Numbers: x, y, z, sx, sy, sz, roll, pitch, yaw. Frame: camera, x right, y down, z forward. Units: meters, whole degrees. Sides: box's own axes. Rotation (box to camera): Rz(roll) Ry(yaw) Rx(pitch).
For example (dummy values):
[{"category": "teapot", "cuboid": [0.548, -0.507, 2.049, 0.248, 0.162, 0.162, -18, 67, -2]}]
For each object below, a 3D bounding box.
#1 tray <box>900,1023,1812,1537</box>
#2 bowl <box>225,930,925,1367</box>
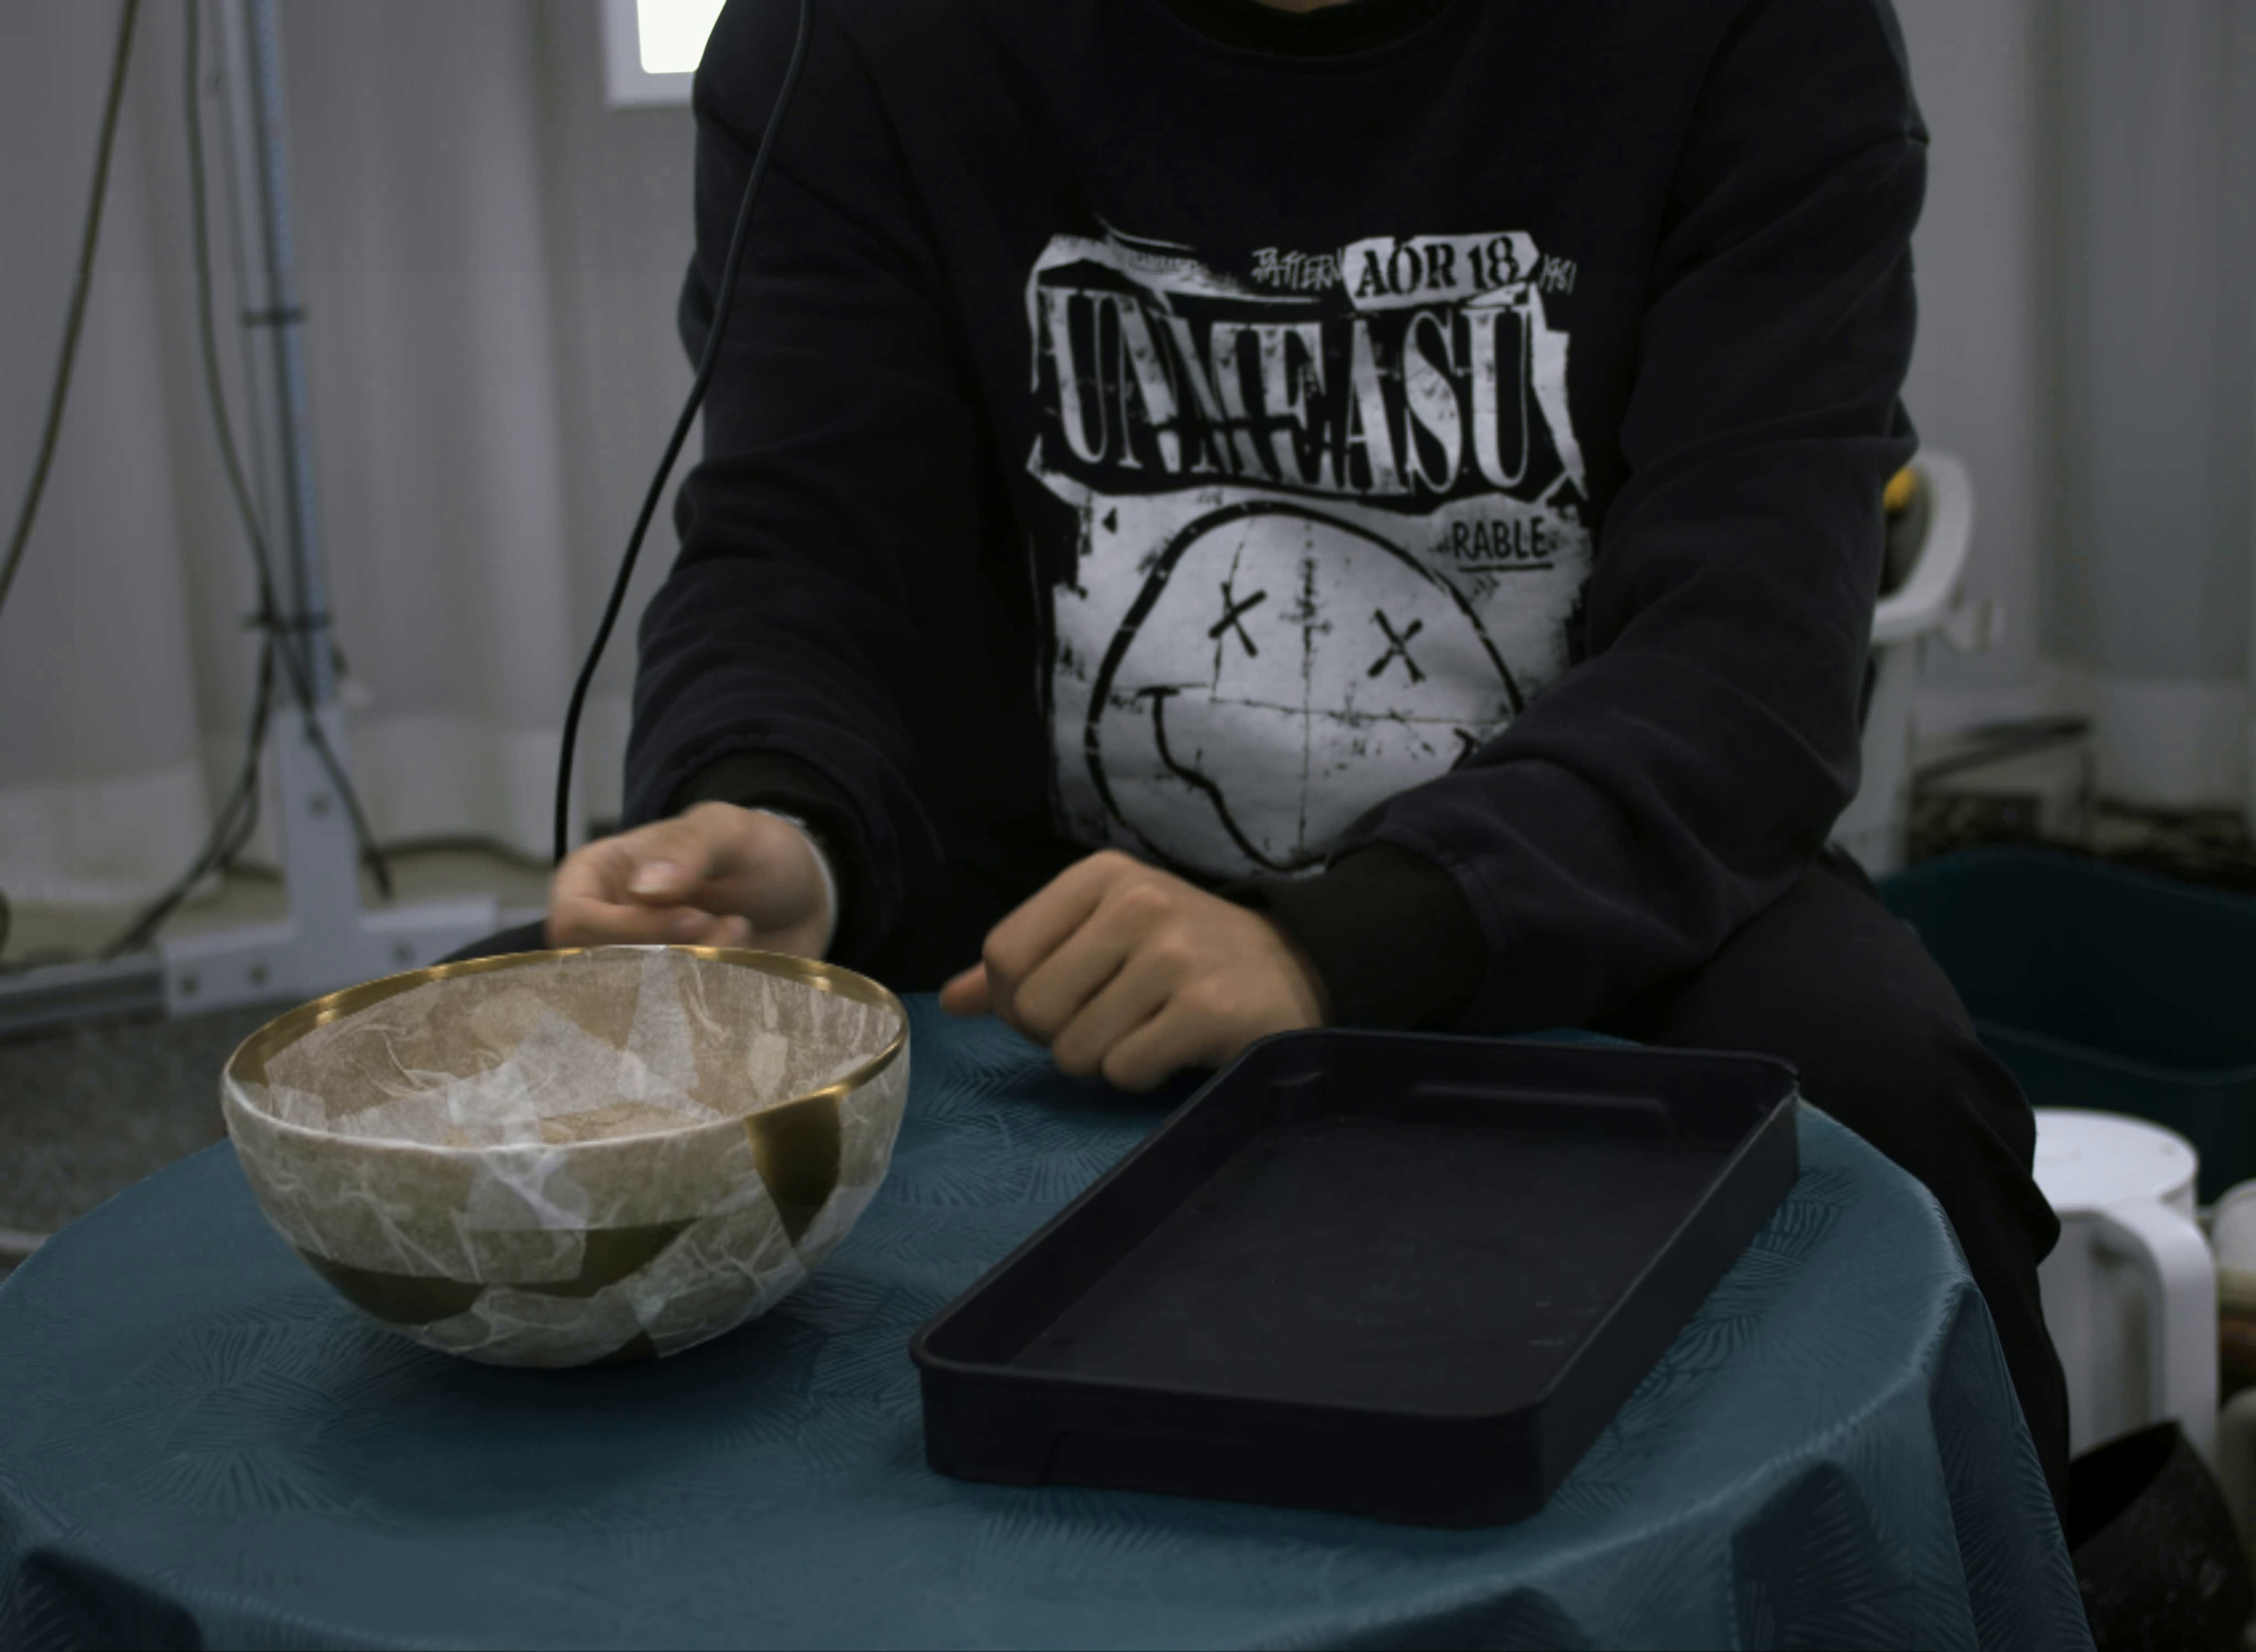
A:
[{"category": "tray", "cuboid": [0.075, 0.125, 1.593, 0.184, 0.037, 0.319, 4, 16, 22]}, {"category": "bowl", "cuboid": [-0.157, 0.103, 1.608, 0.214, 0.094, 0.216, -4, 14, 1]}]
